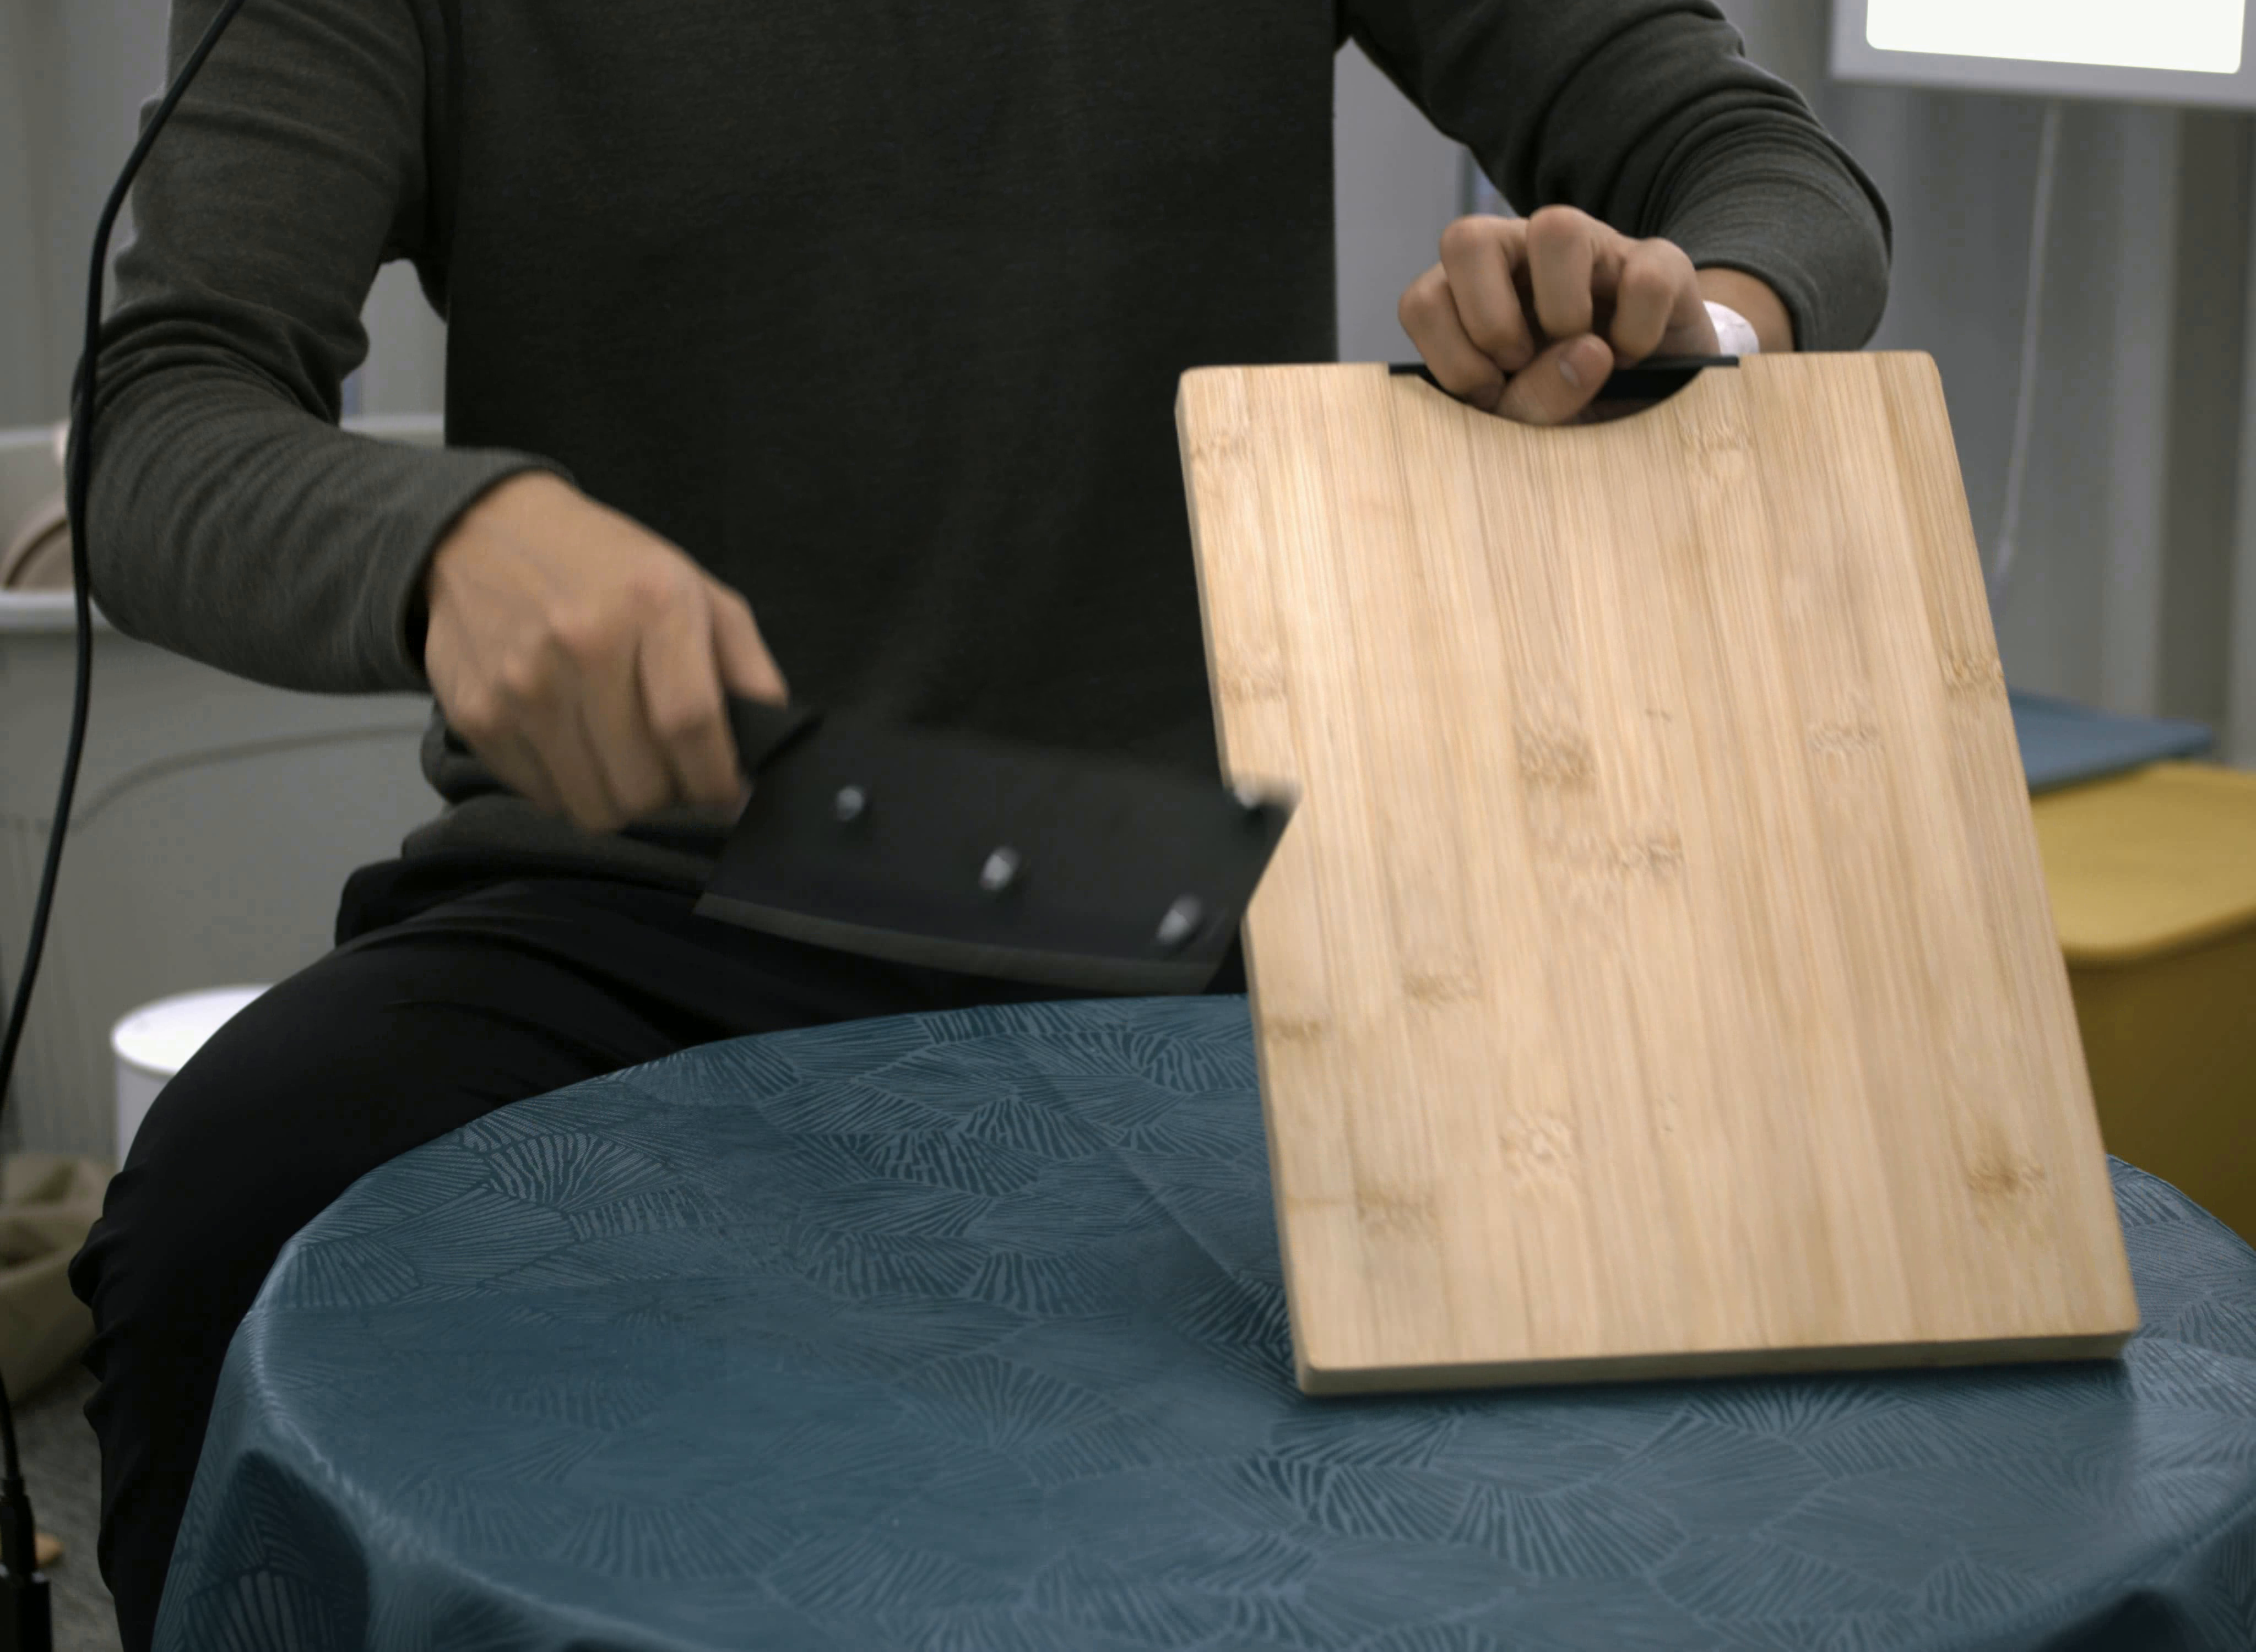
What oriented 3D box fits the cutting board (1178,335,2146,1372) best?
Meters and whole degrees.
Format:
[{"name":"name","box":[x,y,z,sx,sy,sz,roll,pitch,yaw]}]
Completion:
[{"name":"cutting board","box":[0.150,0.002,1.554,0.250,0.024,0.346,-2,60,-10]}]

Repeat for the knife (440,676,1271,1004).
[{"name":"knife","box":[-0.087,0.000,1.488,0.298,0.021,0.081,16,67,39]}]
